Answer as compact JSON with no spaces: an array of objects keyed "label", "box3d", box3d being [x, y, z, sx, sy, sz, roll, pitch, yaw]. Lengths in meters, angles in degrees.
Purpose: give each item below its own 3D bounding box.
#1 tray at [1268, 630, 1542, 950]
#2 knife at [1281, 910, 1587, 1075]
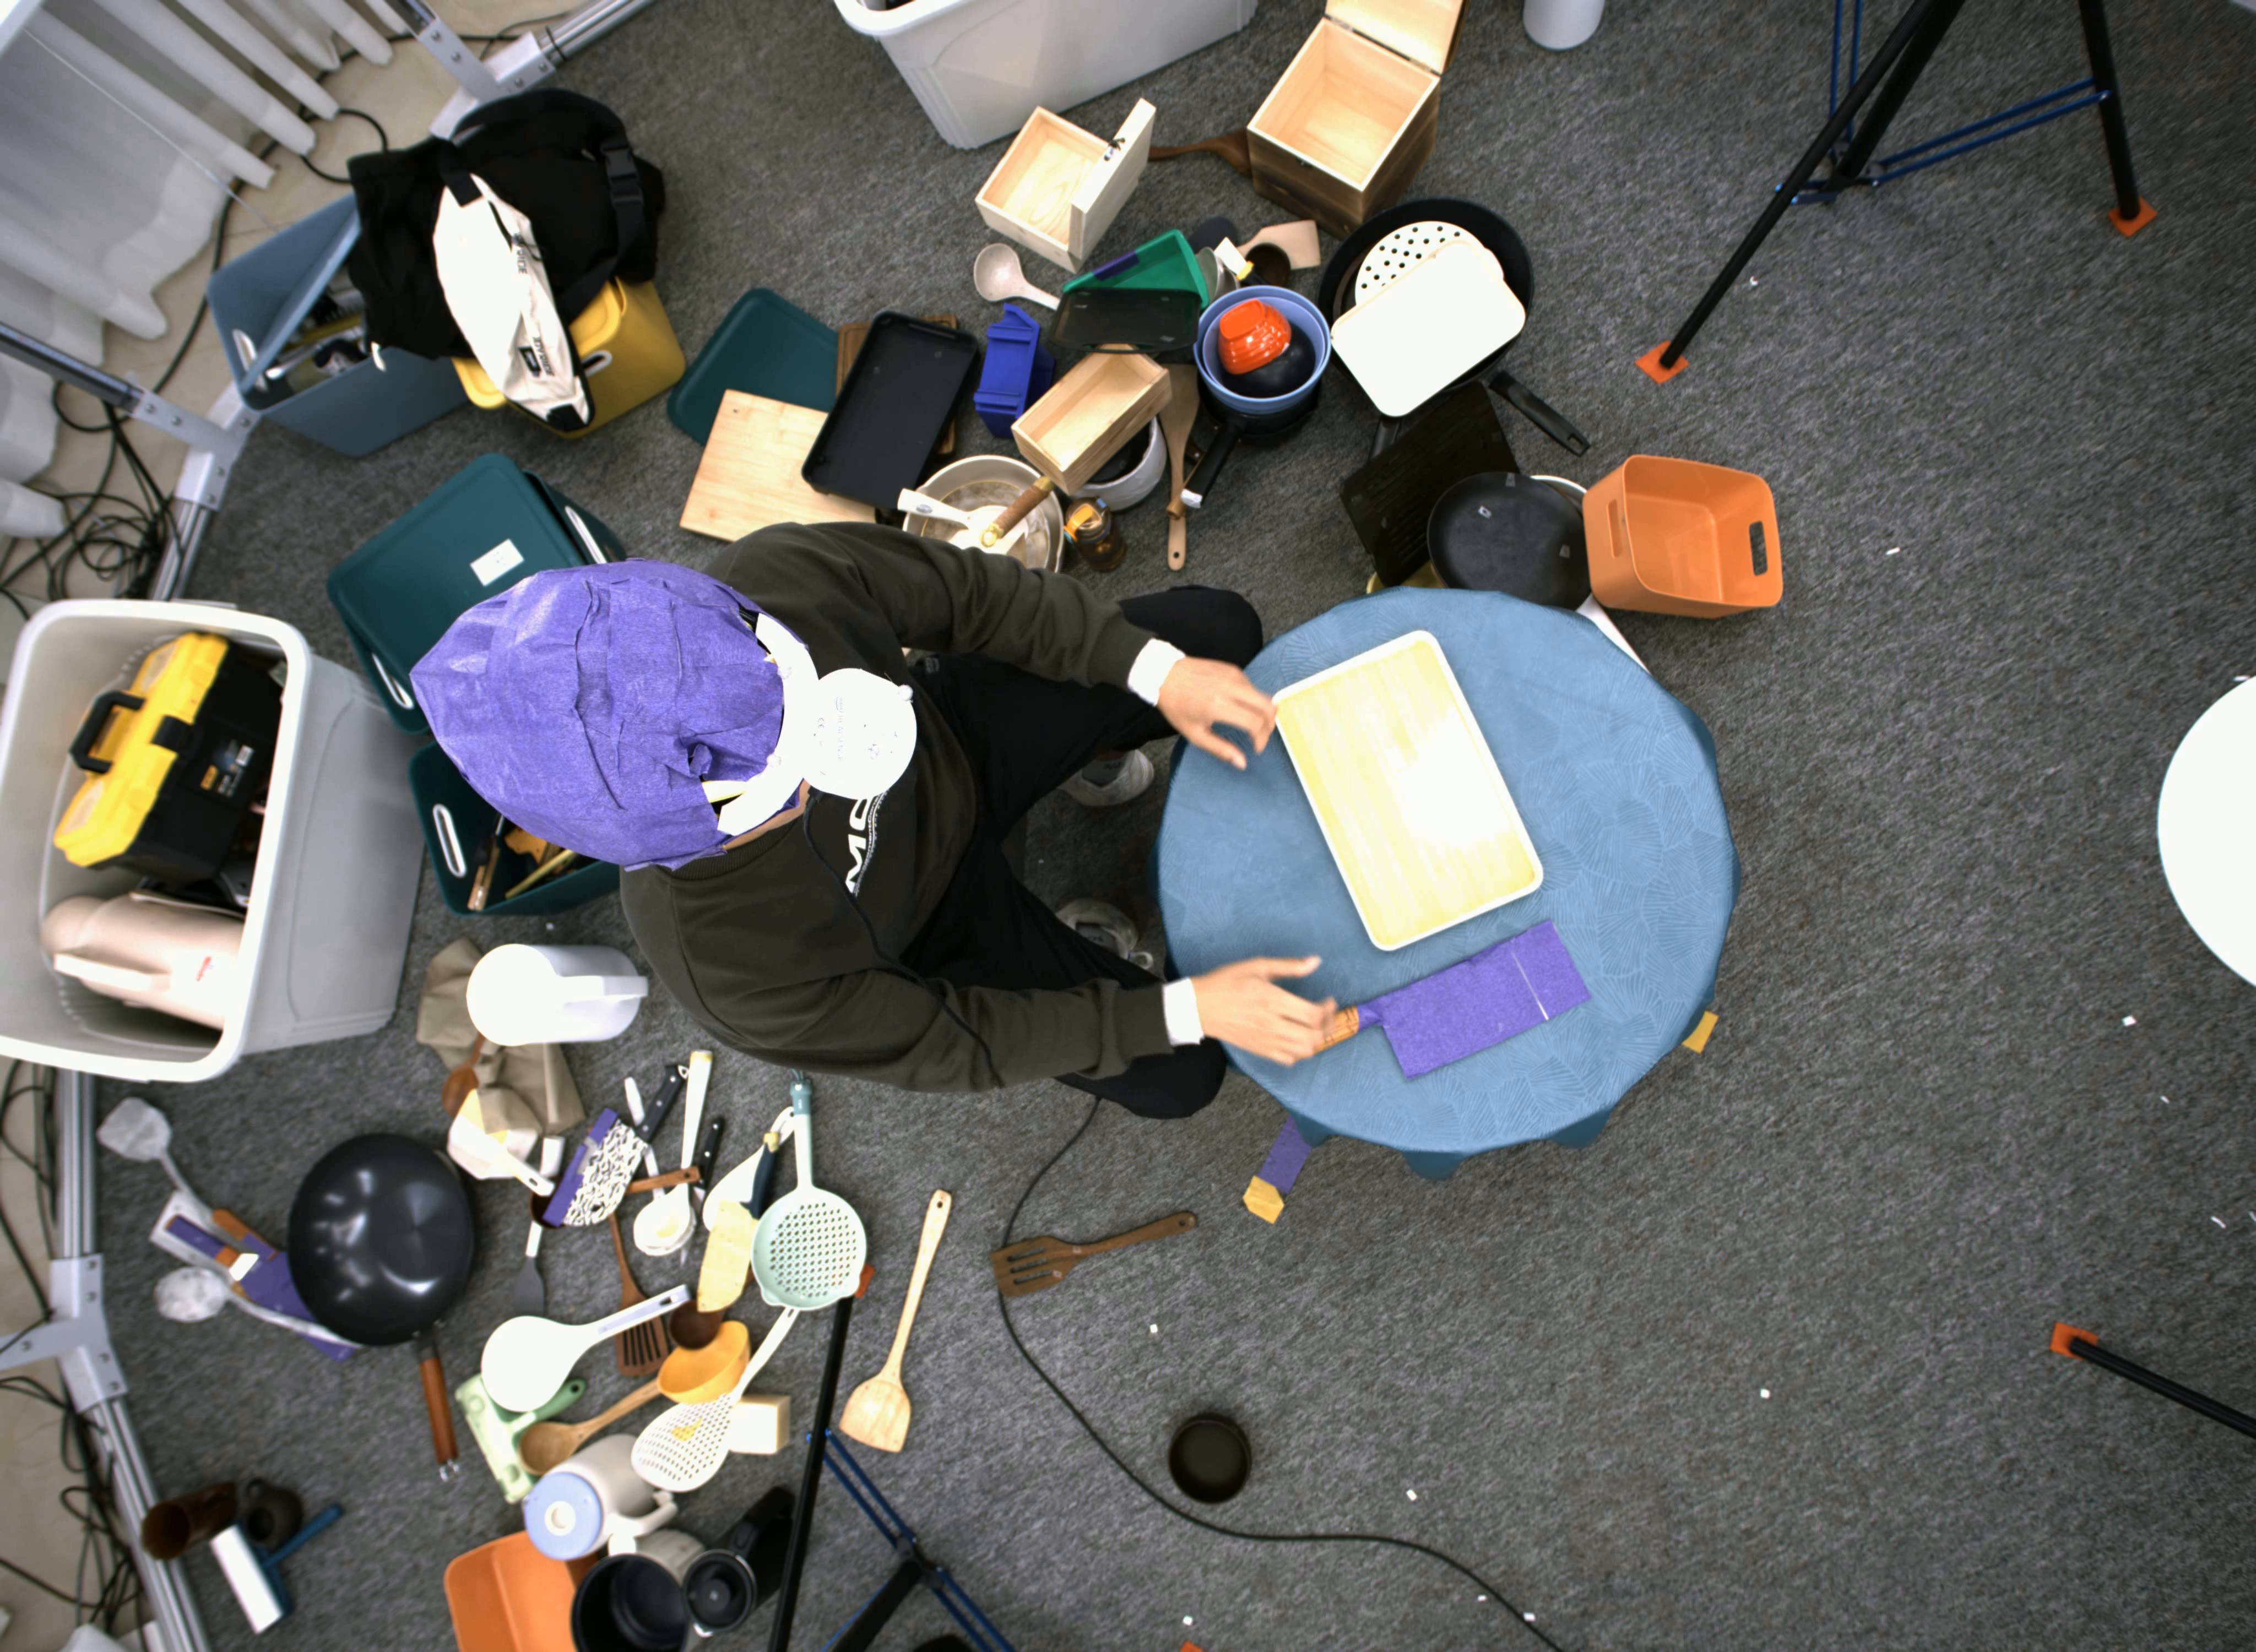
[{"label":"tray","box3d":[0.289,-0.039,1.449,0.193,0.027,0.298,-24,83,9]},{"label":"knife","box3d":[0.318,0.197,1.430,0.317,0.032,0.103,-26,82,8]}]
